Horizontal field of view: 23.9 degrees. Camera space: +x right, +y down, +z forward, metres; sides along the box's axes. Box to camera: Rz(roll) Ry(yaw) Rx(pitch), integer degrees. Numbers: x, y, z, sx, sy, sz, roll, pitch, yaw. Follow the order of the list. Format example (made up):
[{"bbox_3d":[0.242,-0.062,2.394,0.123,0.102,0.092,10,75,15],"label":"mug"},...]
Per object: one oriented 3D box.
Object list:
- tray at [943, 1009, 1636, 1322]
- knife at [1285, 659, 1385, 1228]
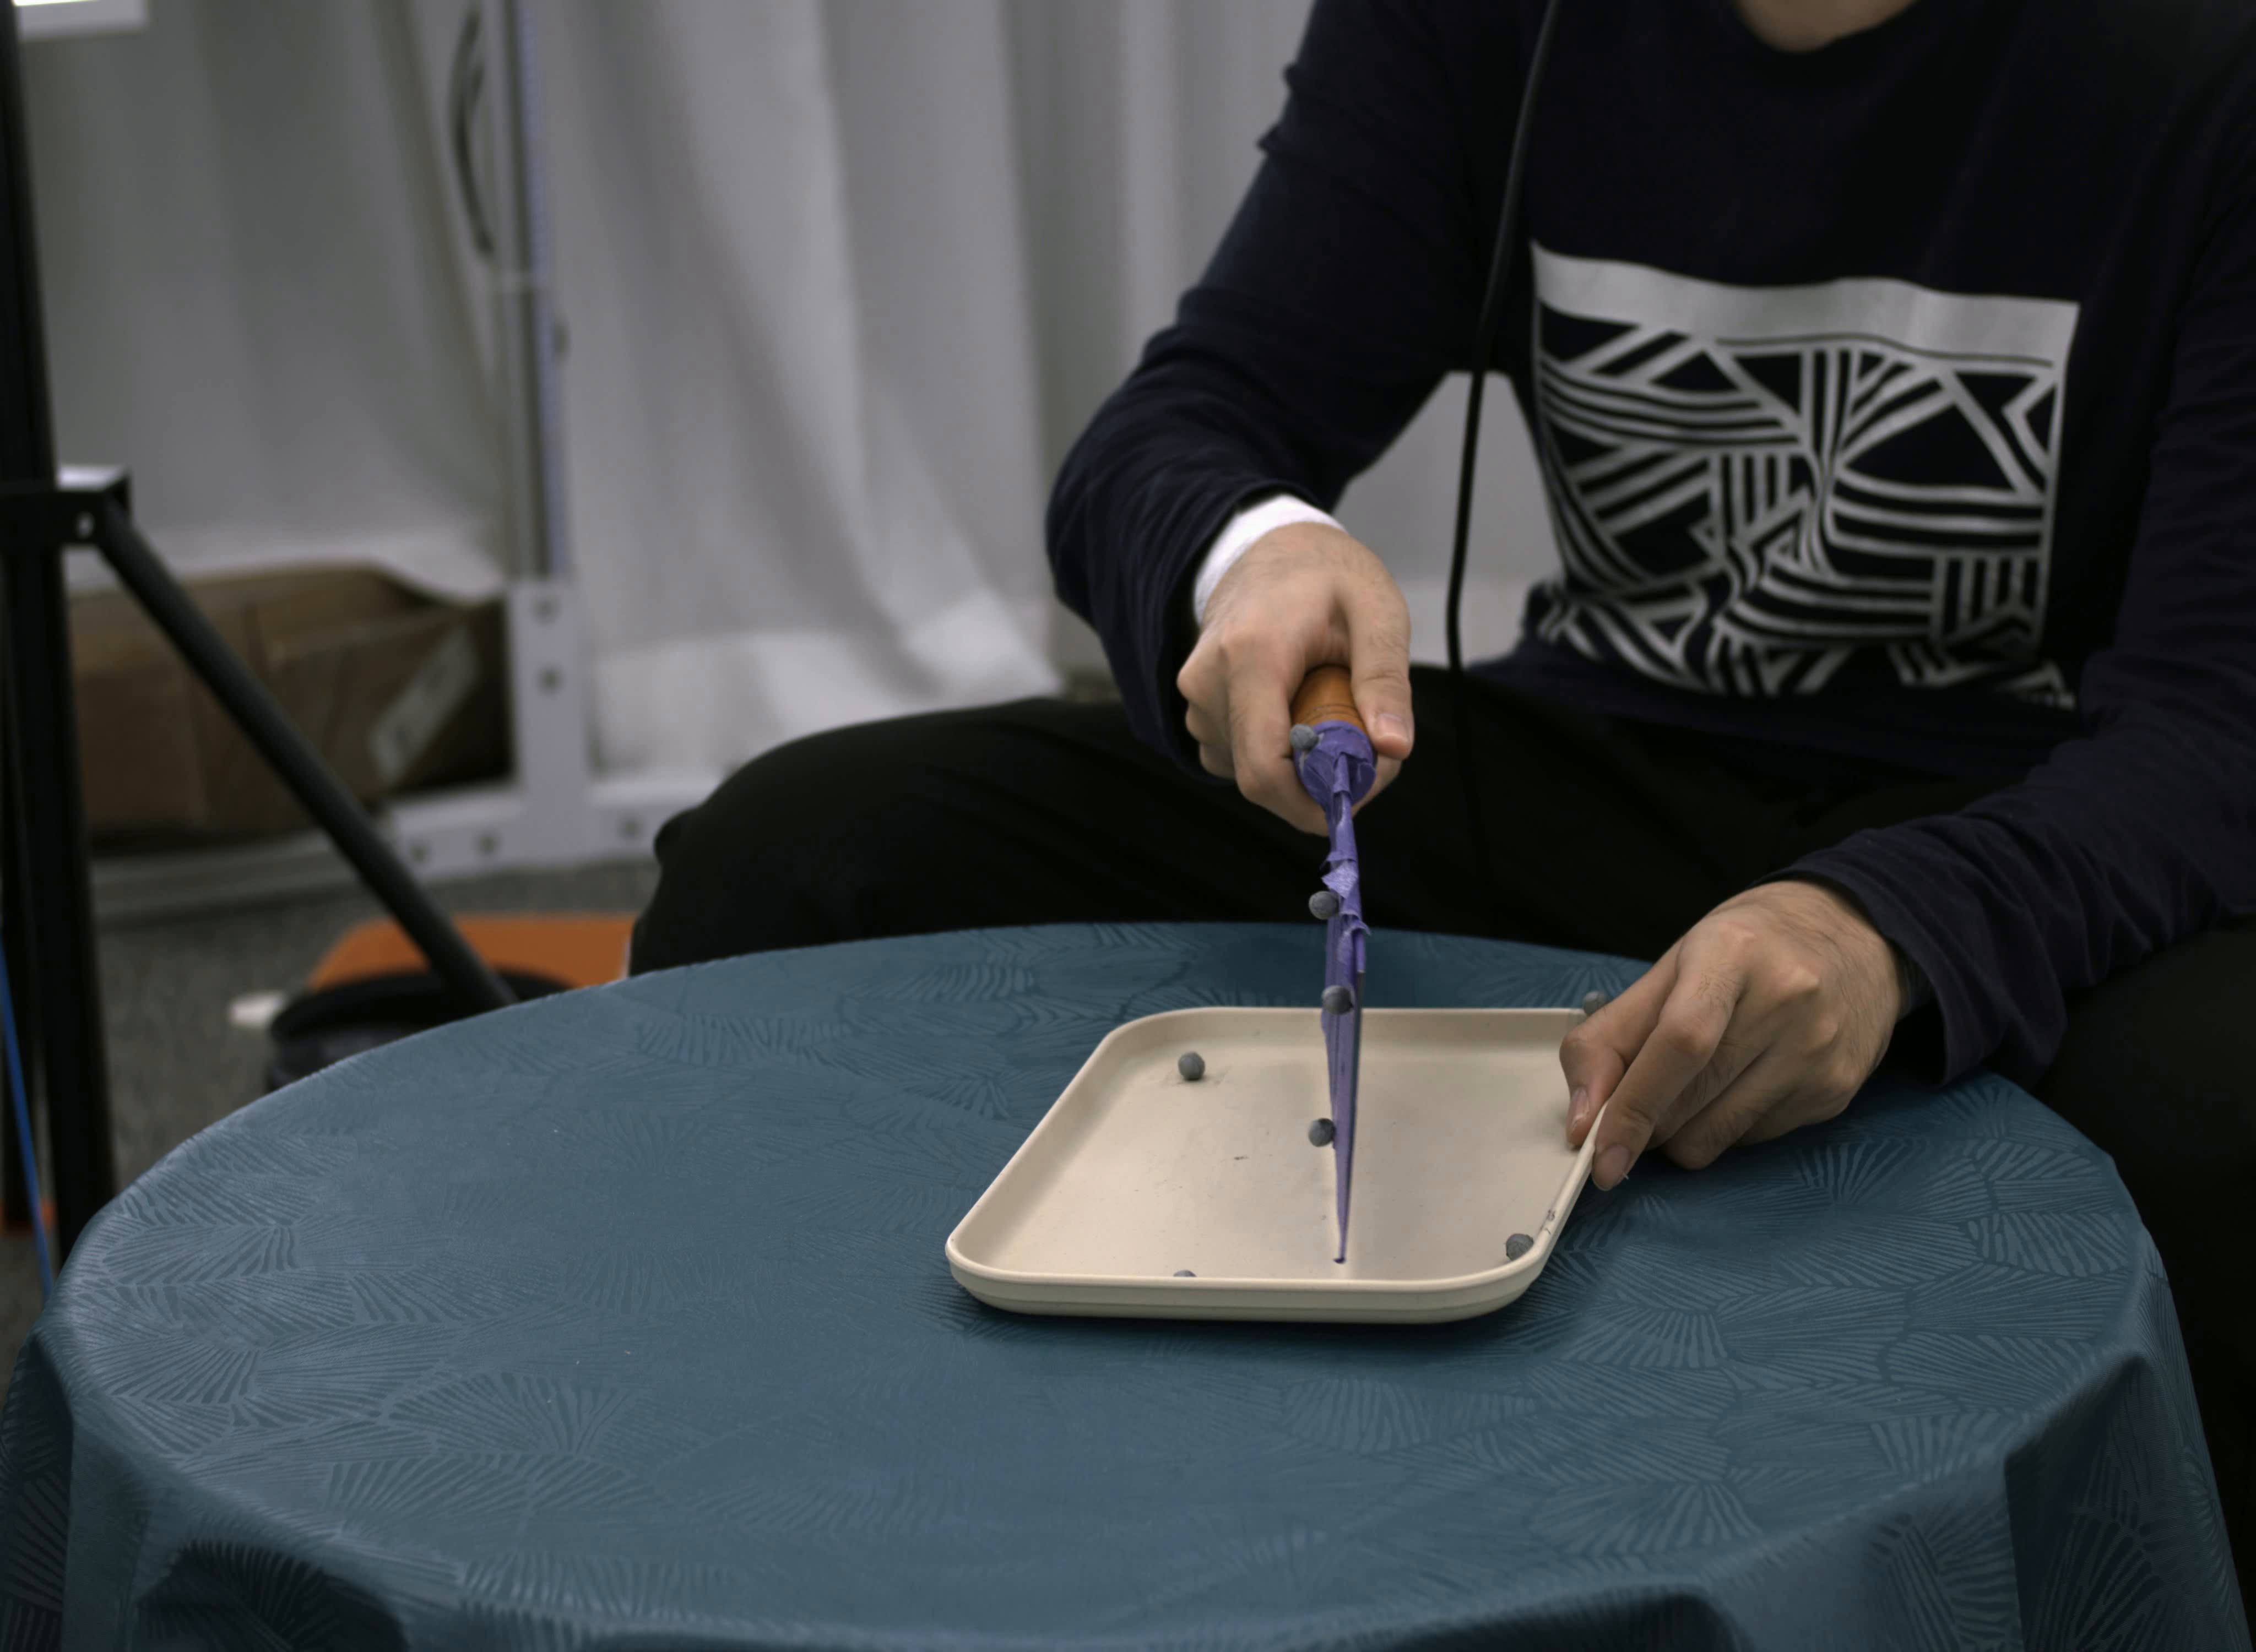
[{"bbox_3d":[0.052,0.098,1.546,0.173,0.017,0.238,-1,16,16],"label":"tray"},{"bbox_3d":[0.059,0.032,1.590,0.032,0.104,0.316,4,17,1],"label":"knife"}]
